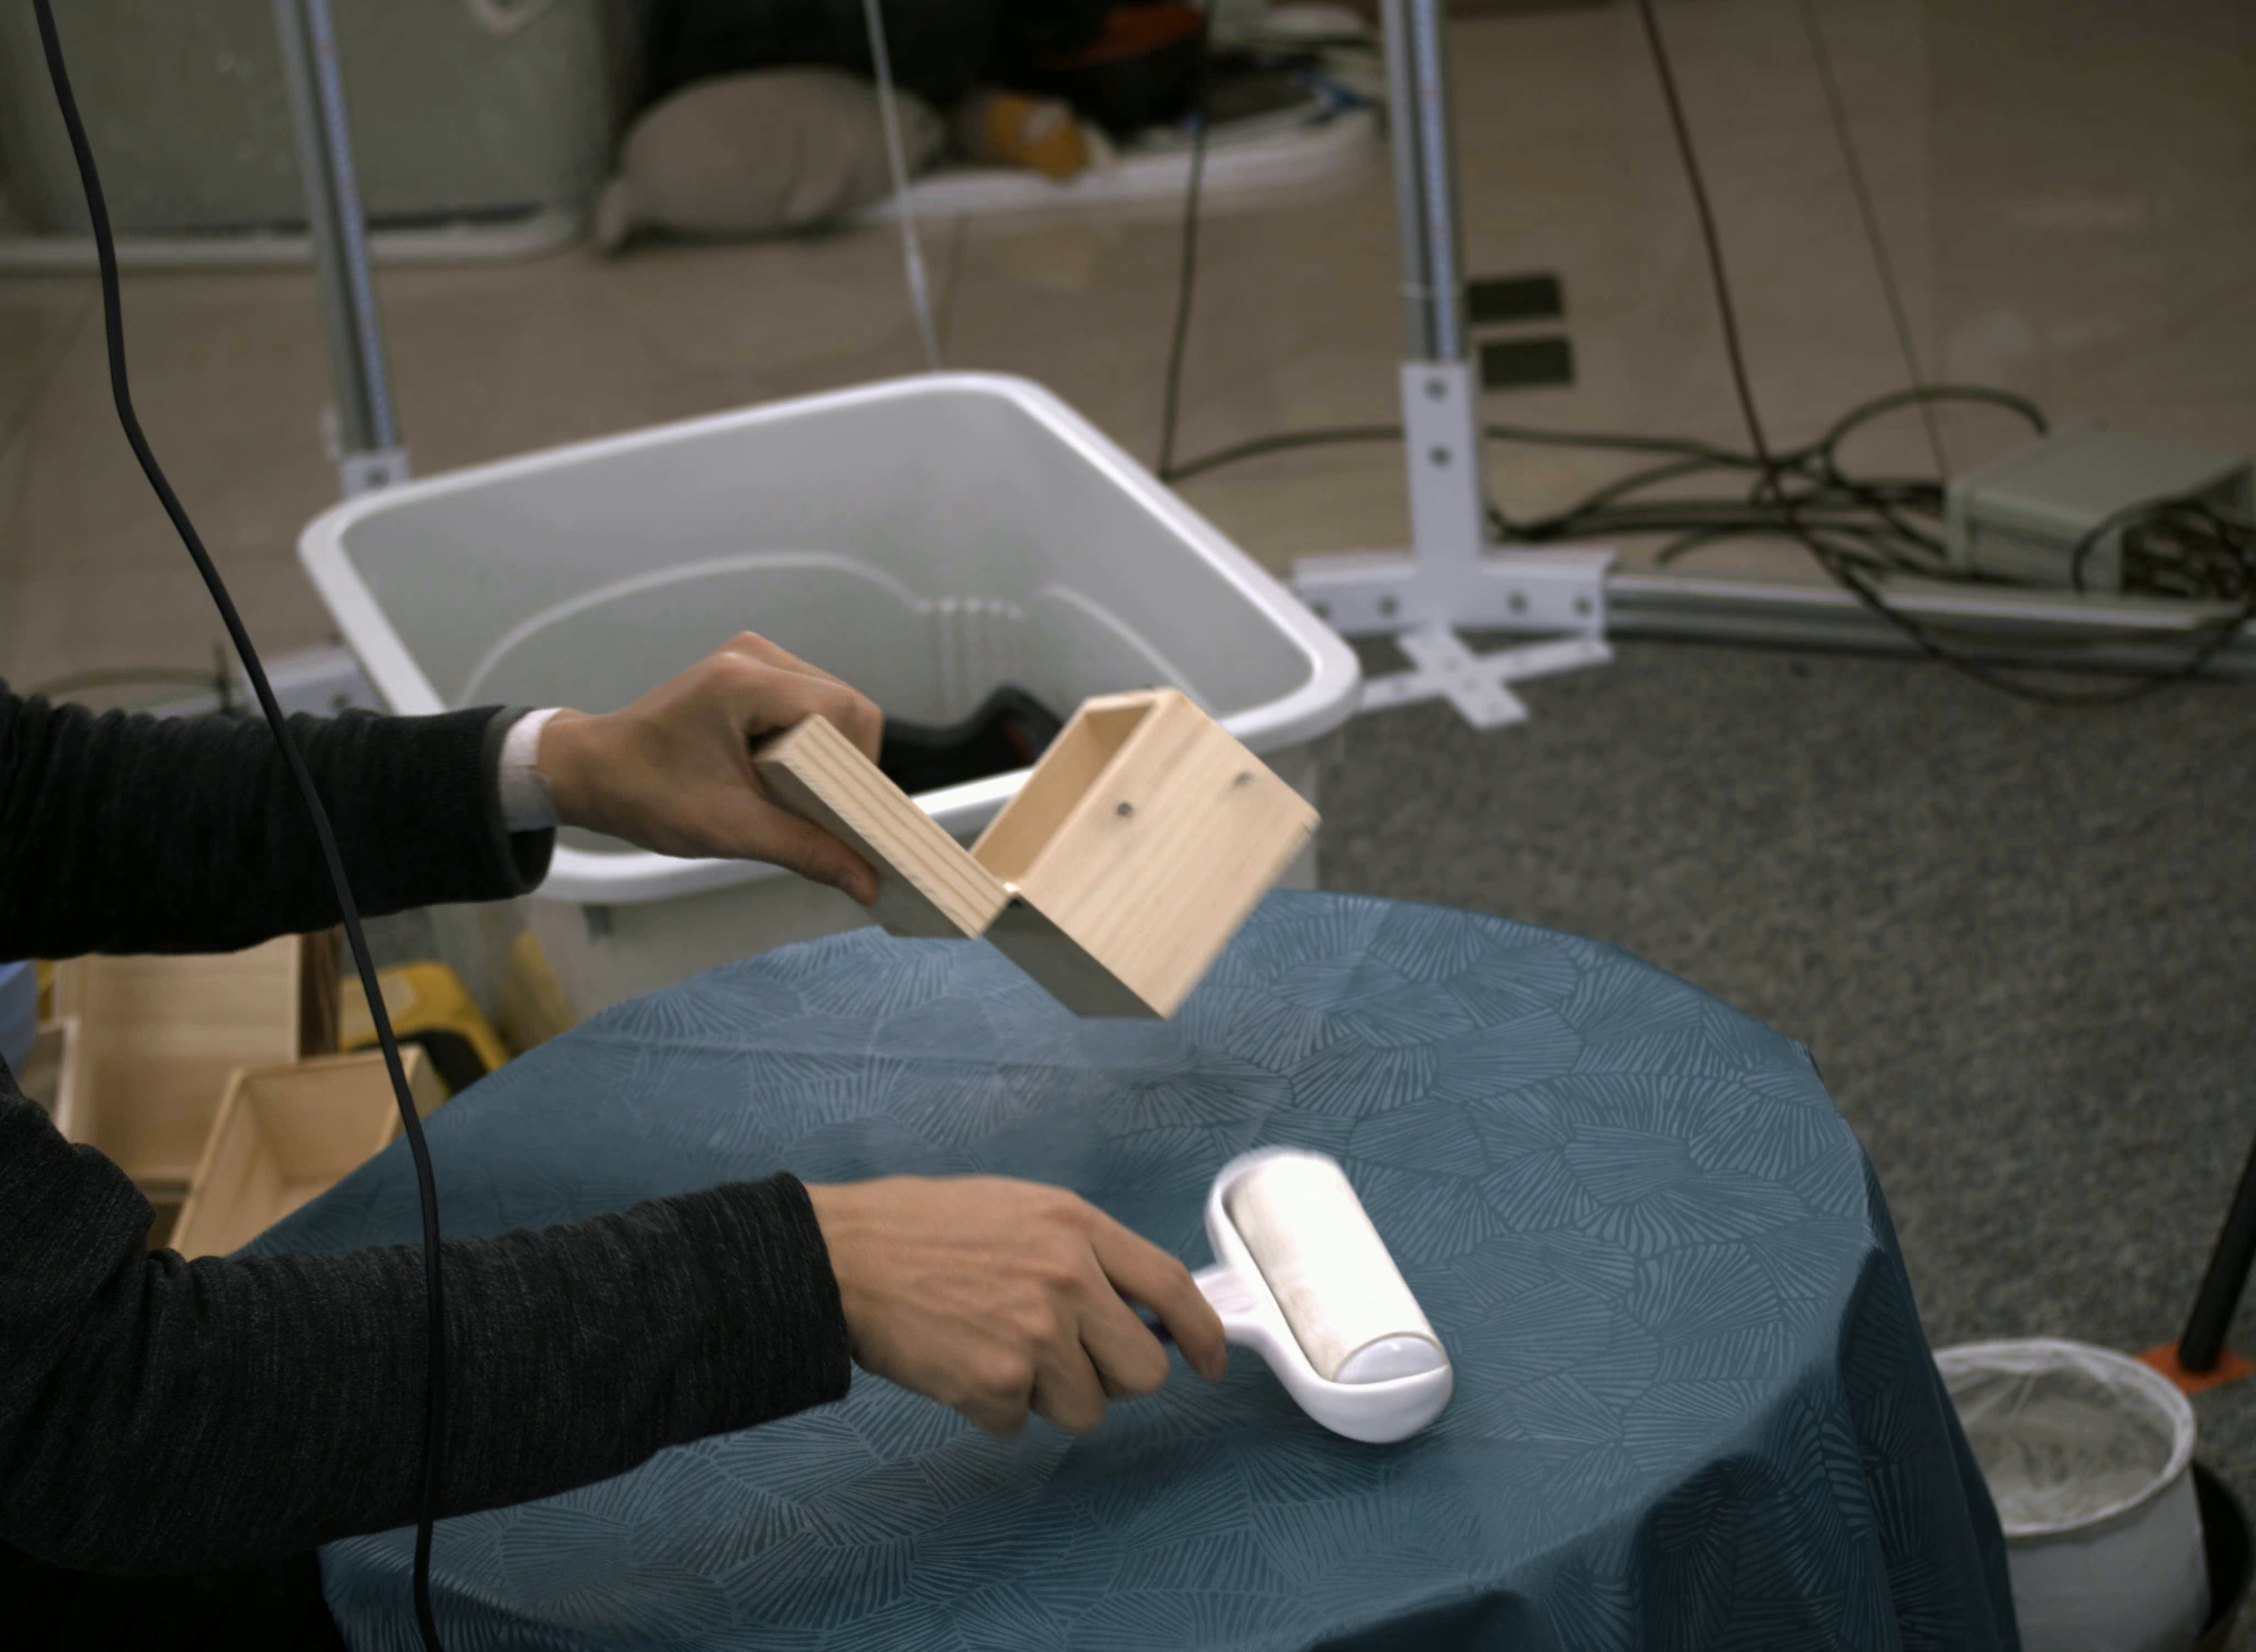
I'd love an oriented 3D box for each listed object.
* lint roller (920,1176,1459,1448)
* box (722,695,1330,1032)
[{"bbox_3d":[0.015,0.168,1.969,0.181,0.051,0.131,3,30,-22],"label":"lint roller"},{"bbox_3d":[-0.040,-0.012,2.164,0.133,0.186,0.102,-52,16,-12],"label":"box"}]
